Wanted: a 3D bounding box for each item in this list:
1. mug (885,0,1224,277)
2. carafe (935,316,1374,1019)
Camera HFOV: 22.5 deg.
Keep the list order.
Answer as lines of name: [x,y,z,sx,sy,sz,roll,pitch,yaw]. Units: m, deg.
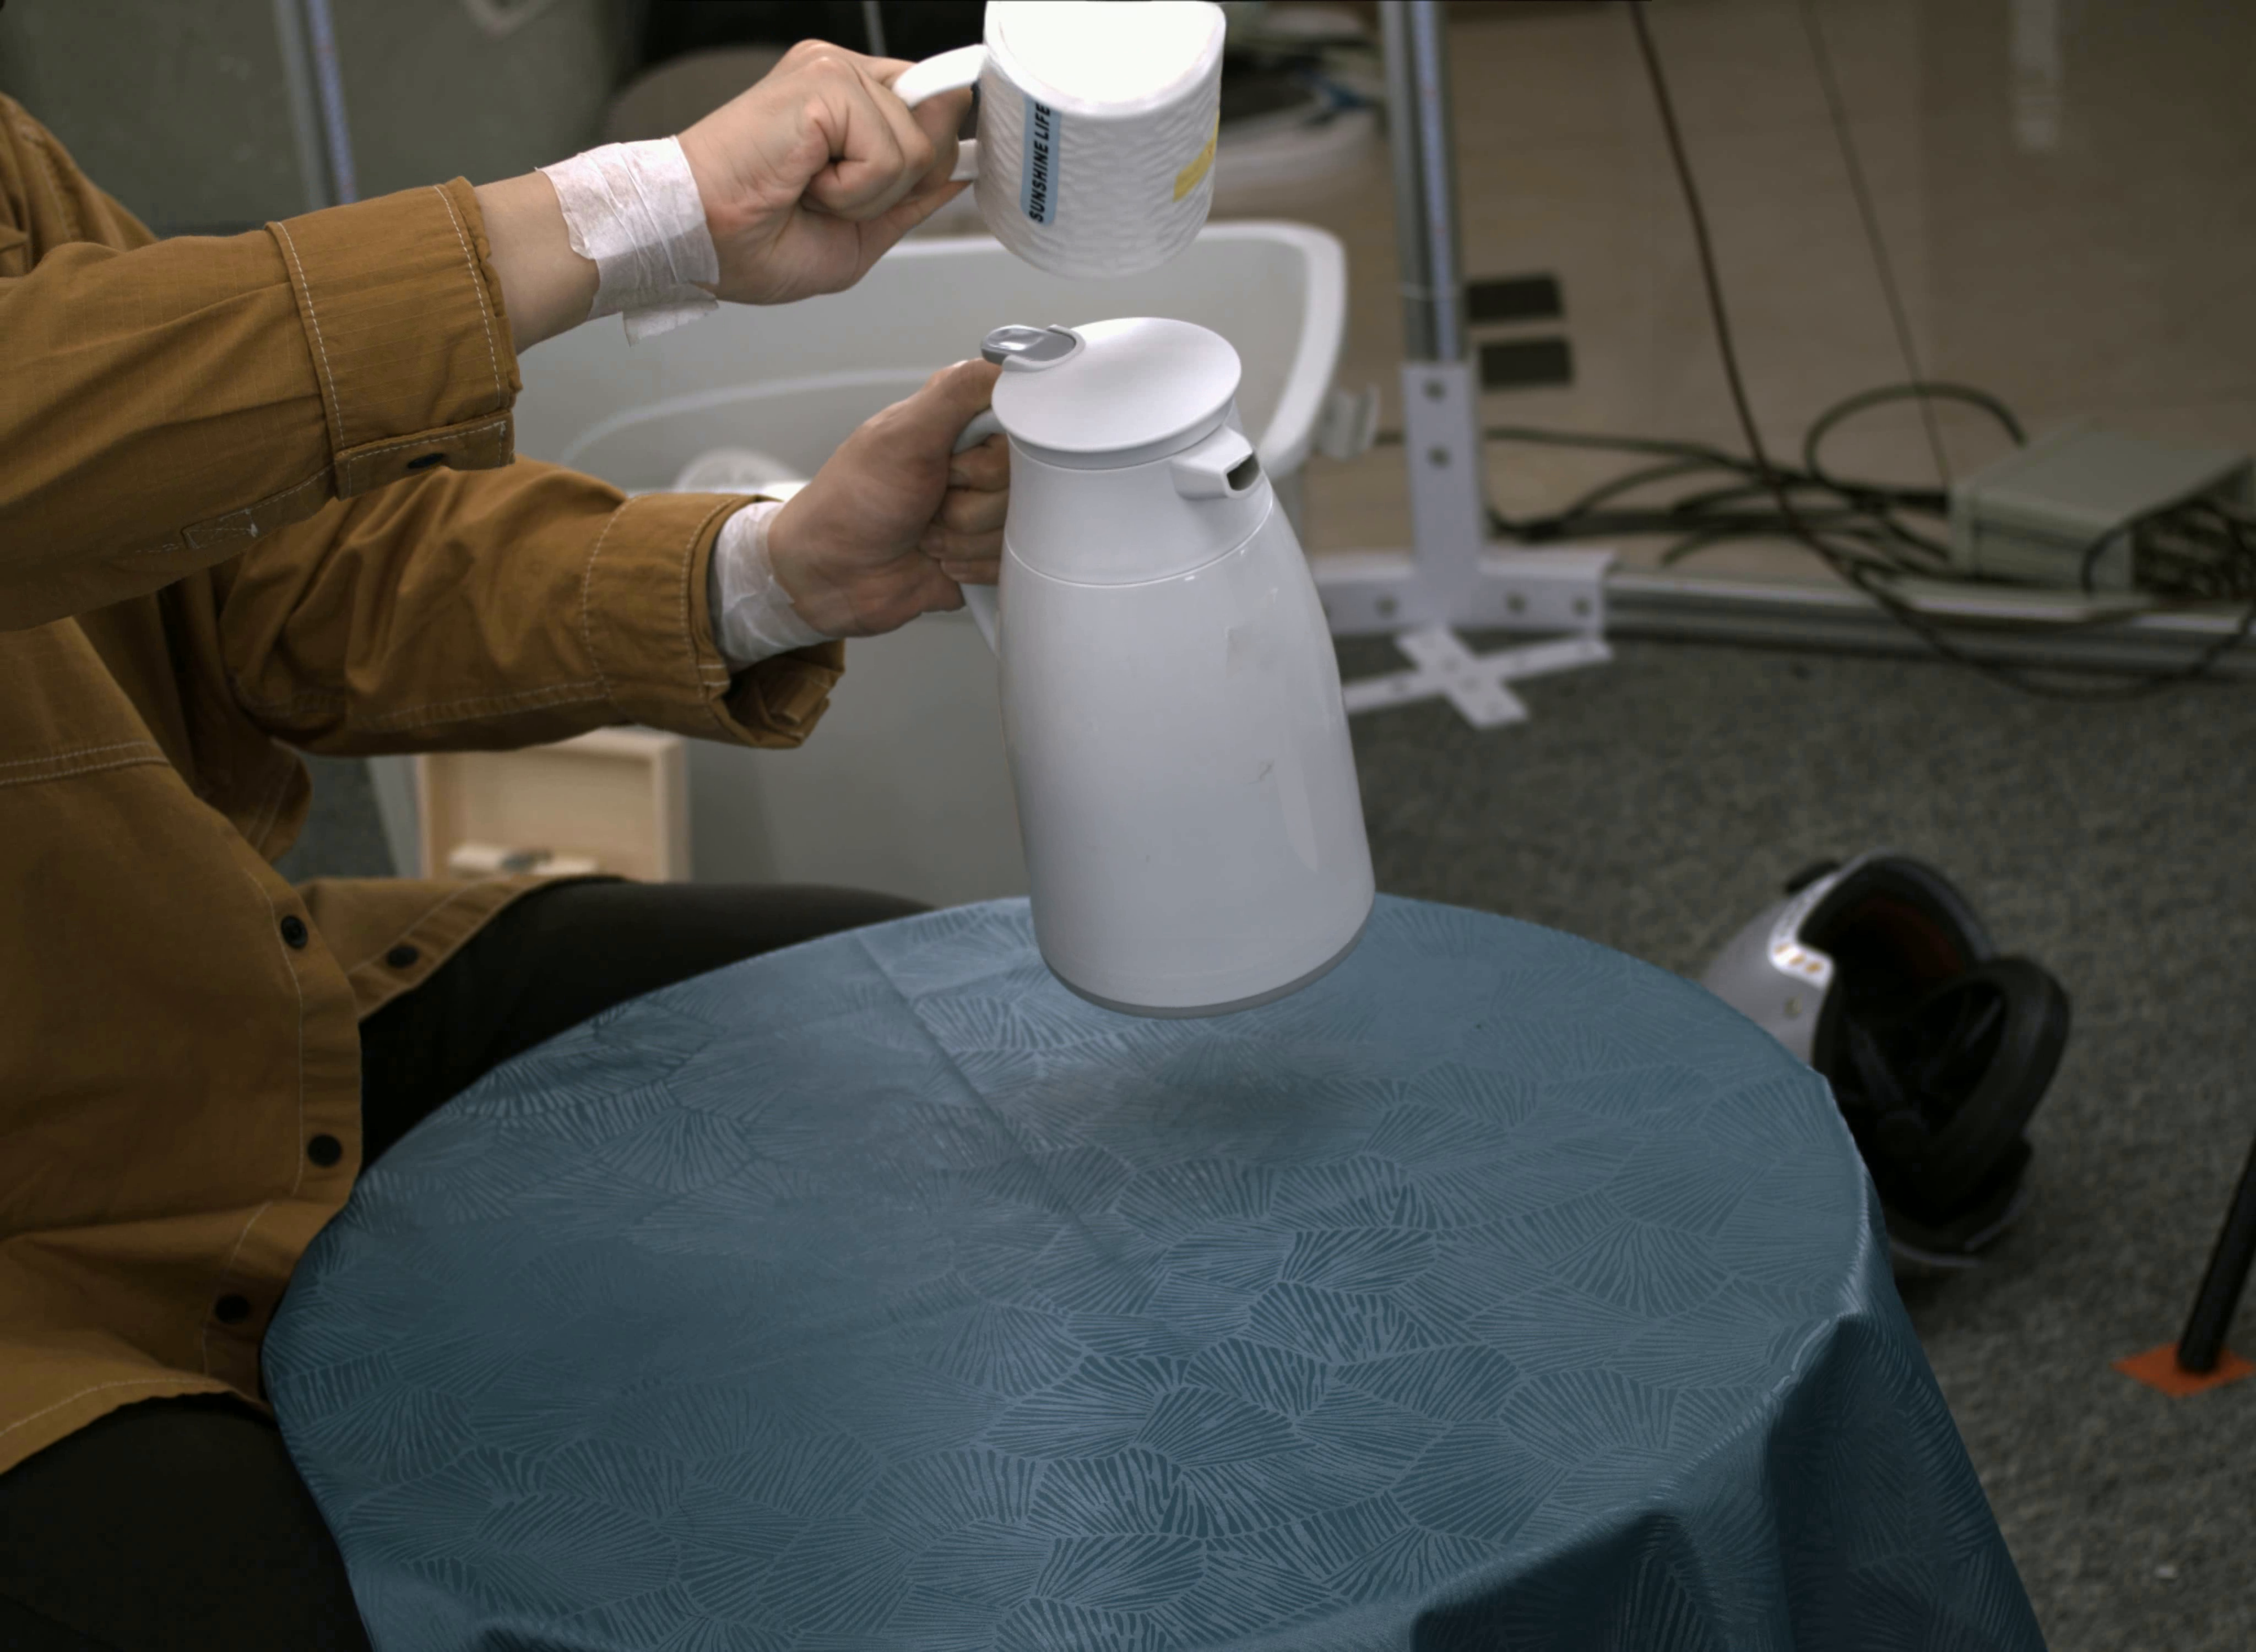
mug: [-0.026,-0.255,1.977,0.118,0.103,0.084,-3,61,-4]
carafe: [-0.002,-0.071,2.115,0.166,0.253,0.131,23,48,38]
